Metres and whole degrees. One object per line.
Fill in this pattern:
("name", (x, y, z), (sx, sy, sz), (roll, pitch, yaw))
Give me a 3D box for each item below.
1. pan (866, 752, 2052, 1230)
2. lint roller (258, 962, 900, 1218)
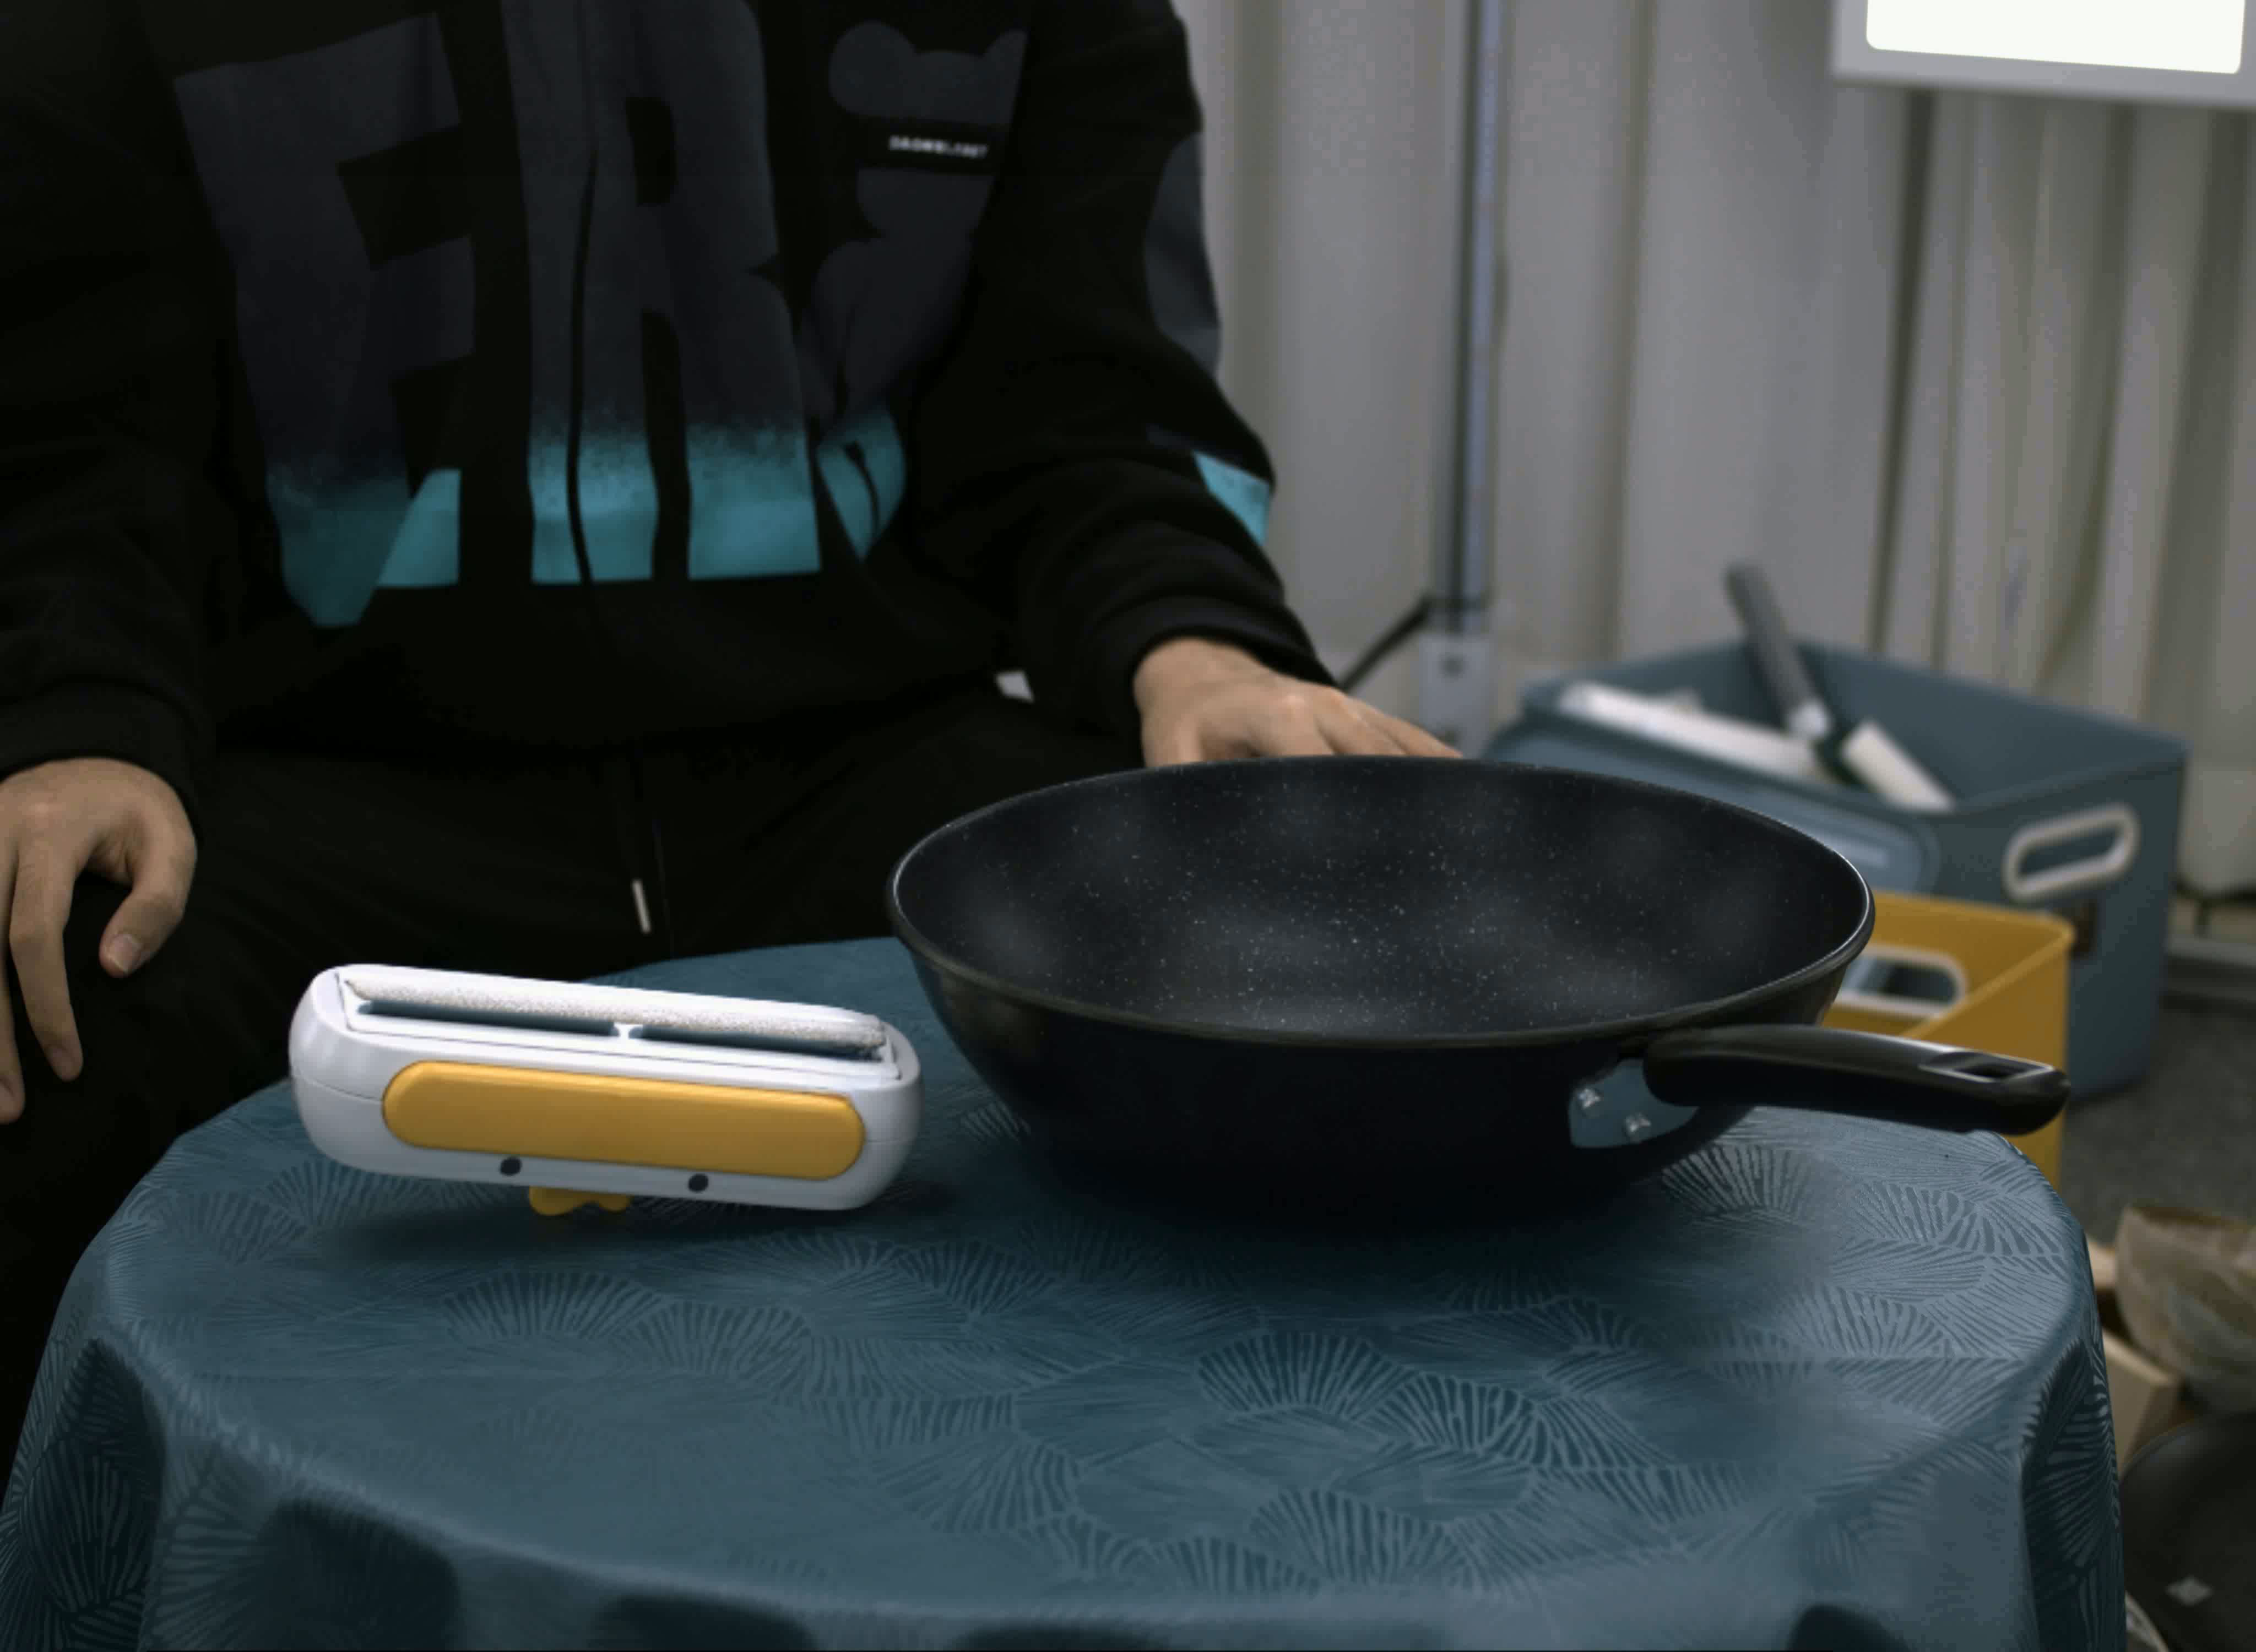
("pan", (0.116, 0.066, 1.588), (0.311, 0.112, 0.471), (-11, 19, -30))
("lint roller", (-0.176, 0.071, 1.636), (0.193, 0.074, 0.191), (2, 13, -12))
